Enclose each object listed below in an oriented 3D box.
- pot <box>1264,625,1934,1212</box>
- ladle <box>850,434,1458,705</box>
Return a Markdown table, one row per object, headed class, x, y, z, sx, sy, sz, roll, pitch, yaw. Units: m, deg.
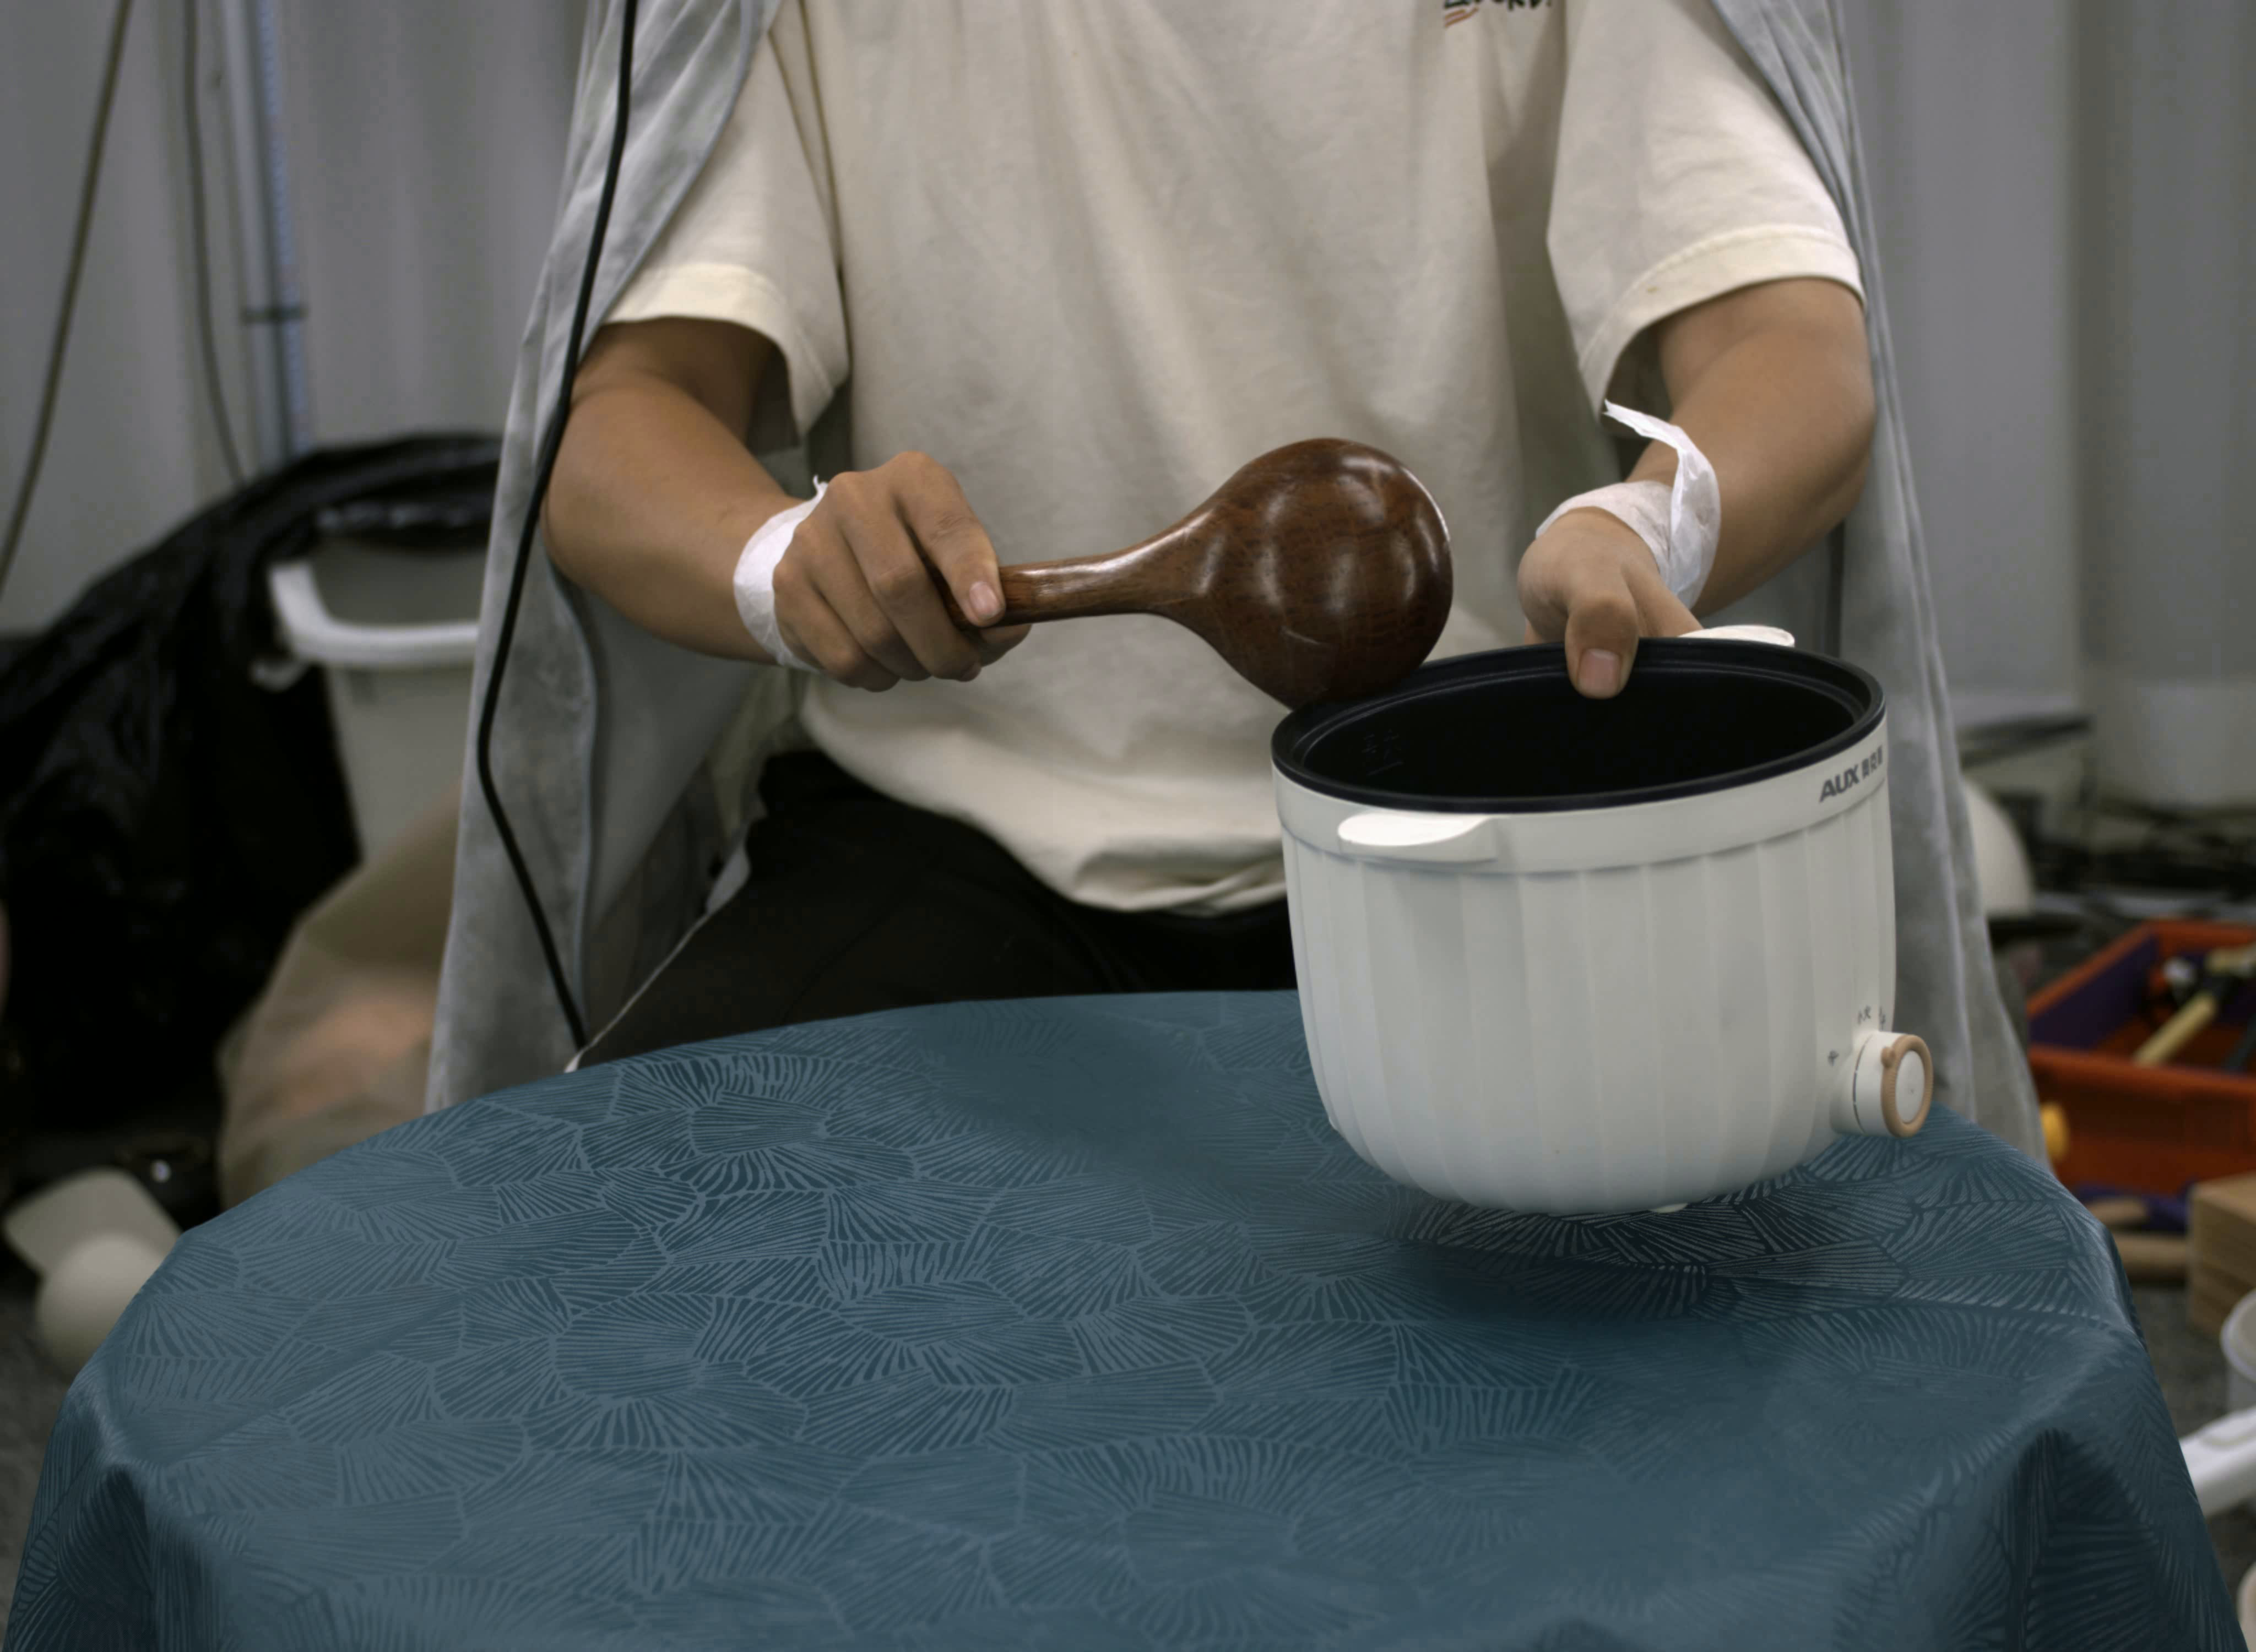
| class | x | y | z | sx | sy | sz | roll | pitch | yaw |
| --- | --- | --- | --- | --- | --- | --- | --- | --- | --- |
| pot | 0.142 | 0.031 | 1.623 | 0.191 | 0.142 | 0.241 | 0 | 17 | 33 |
| ladle | 0.006 | -0.074 | 1.739 | 0.076 | 0.082 | 0.274 | 10 | -7 | -28 |
